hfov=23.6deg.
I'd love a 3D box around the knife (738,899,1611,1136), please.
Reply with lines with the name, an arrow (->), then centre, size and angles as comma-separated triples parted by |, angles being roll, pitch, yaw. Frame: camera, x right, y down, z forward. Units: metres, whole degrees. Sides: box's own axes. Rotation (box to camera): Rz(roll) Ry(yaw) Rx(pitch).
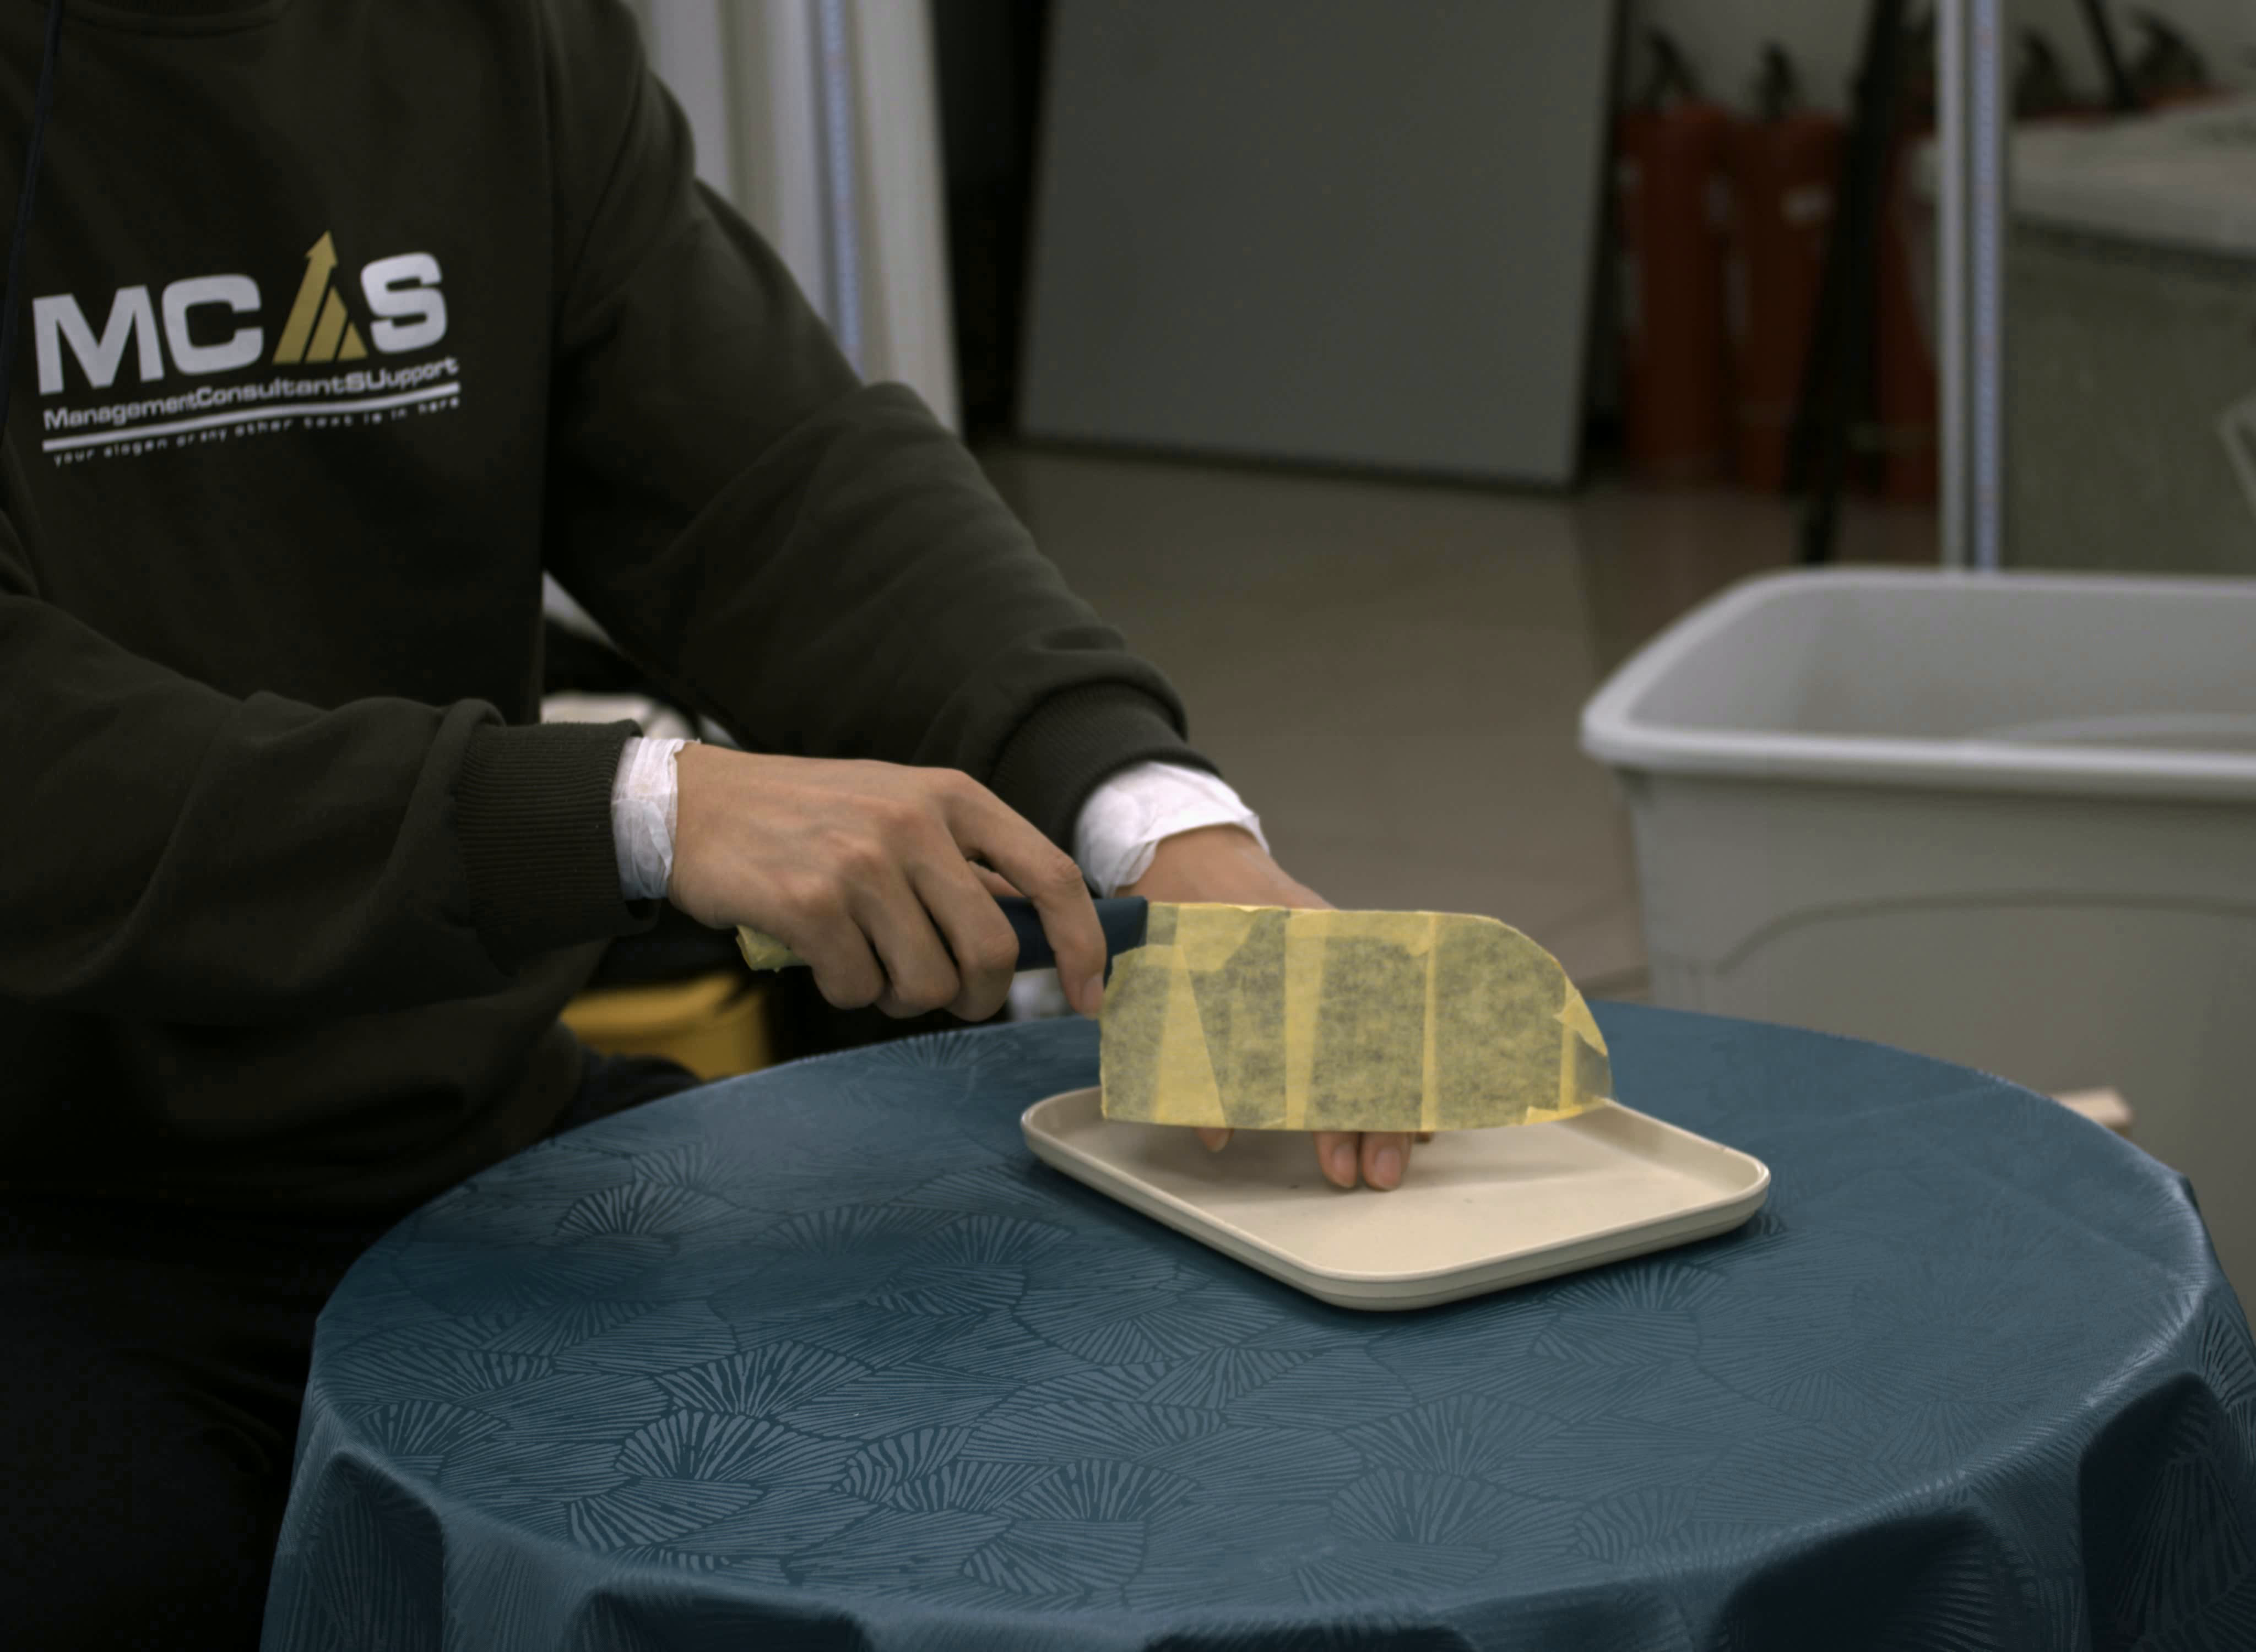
knife -> 0.016, 0.059, 1.742 | 0.285, 0.082, 0.027 | 4, -8, -2

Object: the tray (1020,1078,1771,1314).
tray -> 0.084, 0.112, 1.751 | 0.167, 0.017, 0.242 | -12, 15, -27
